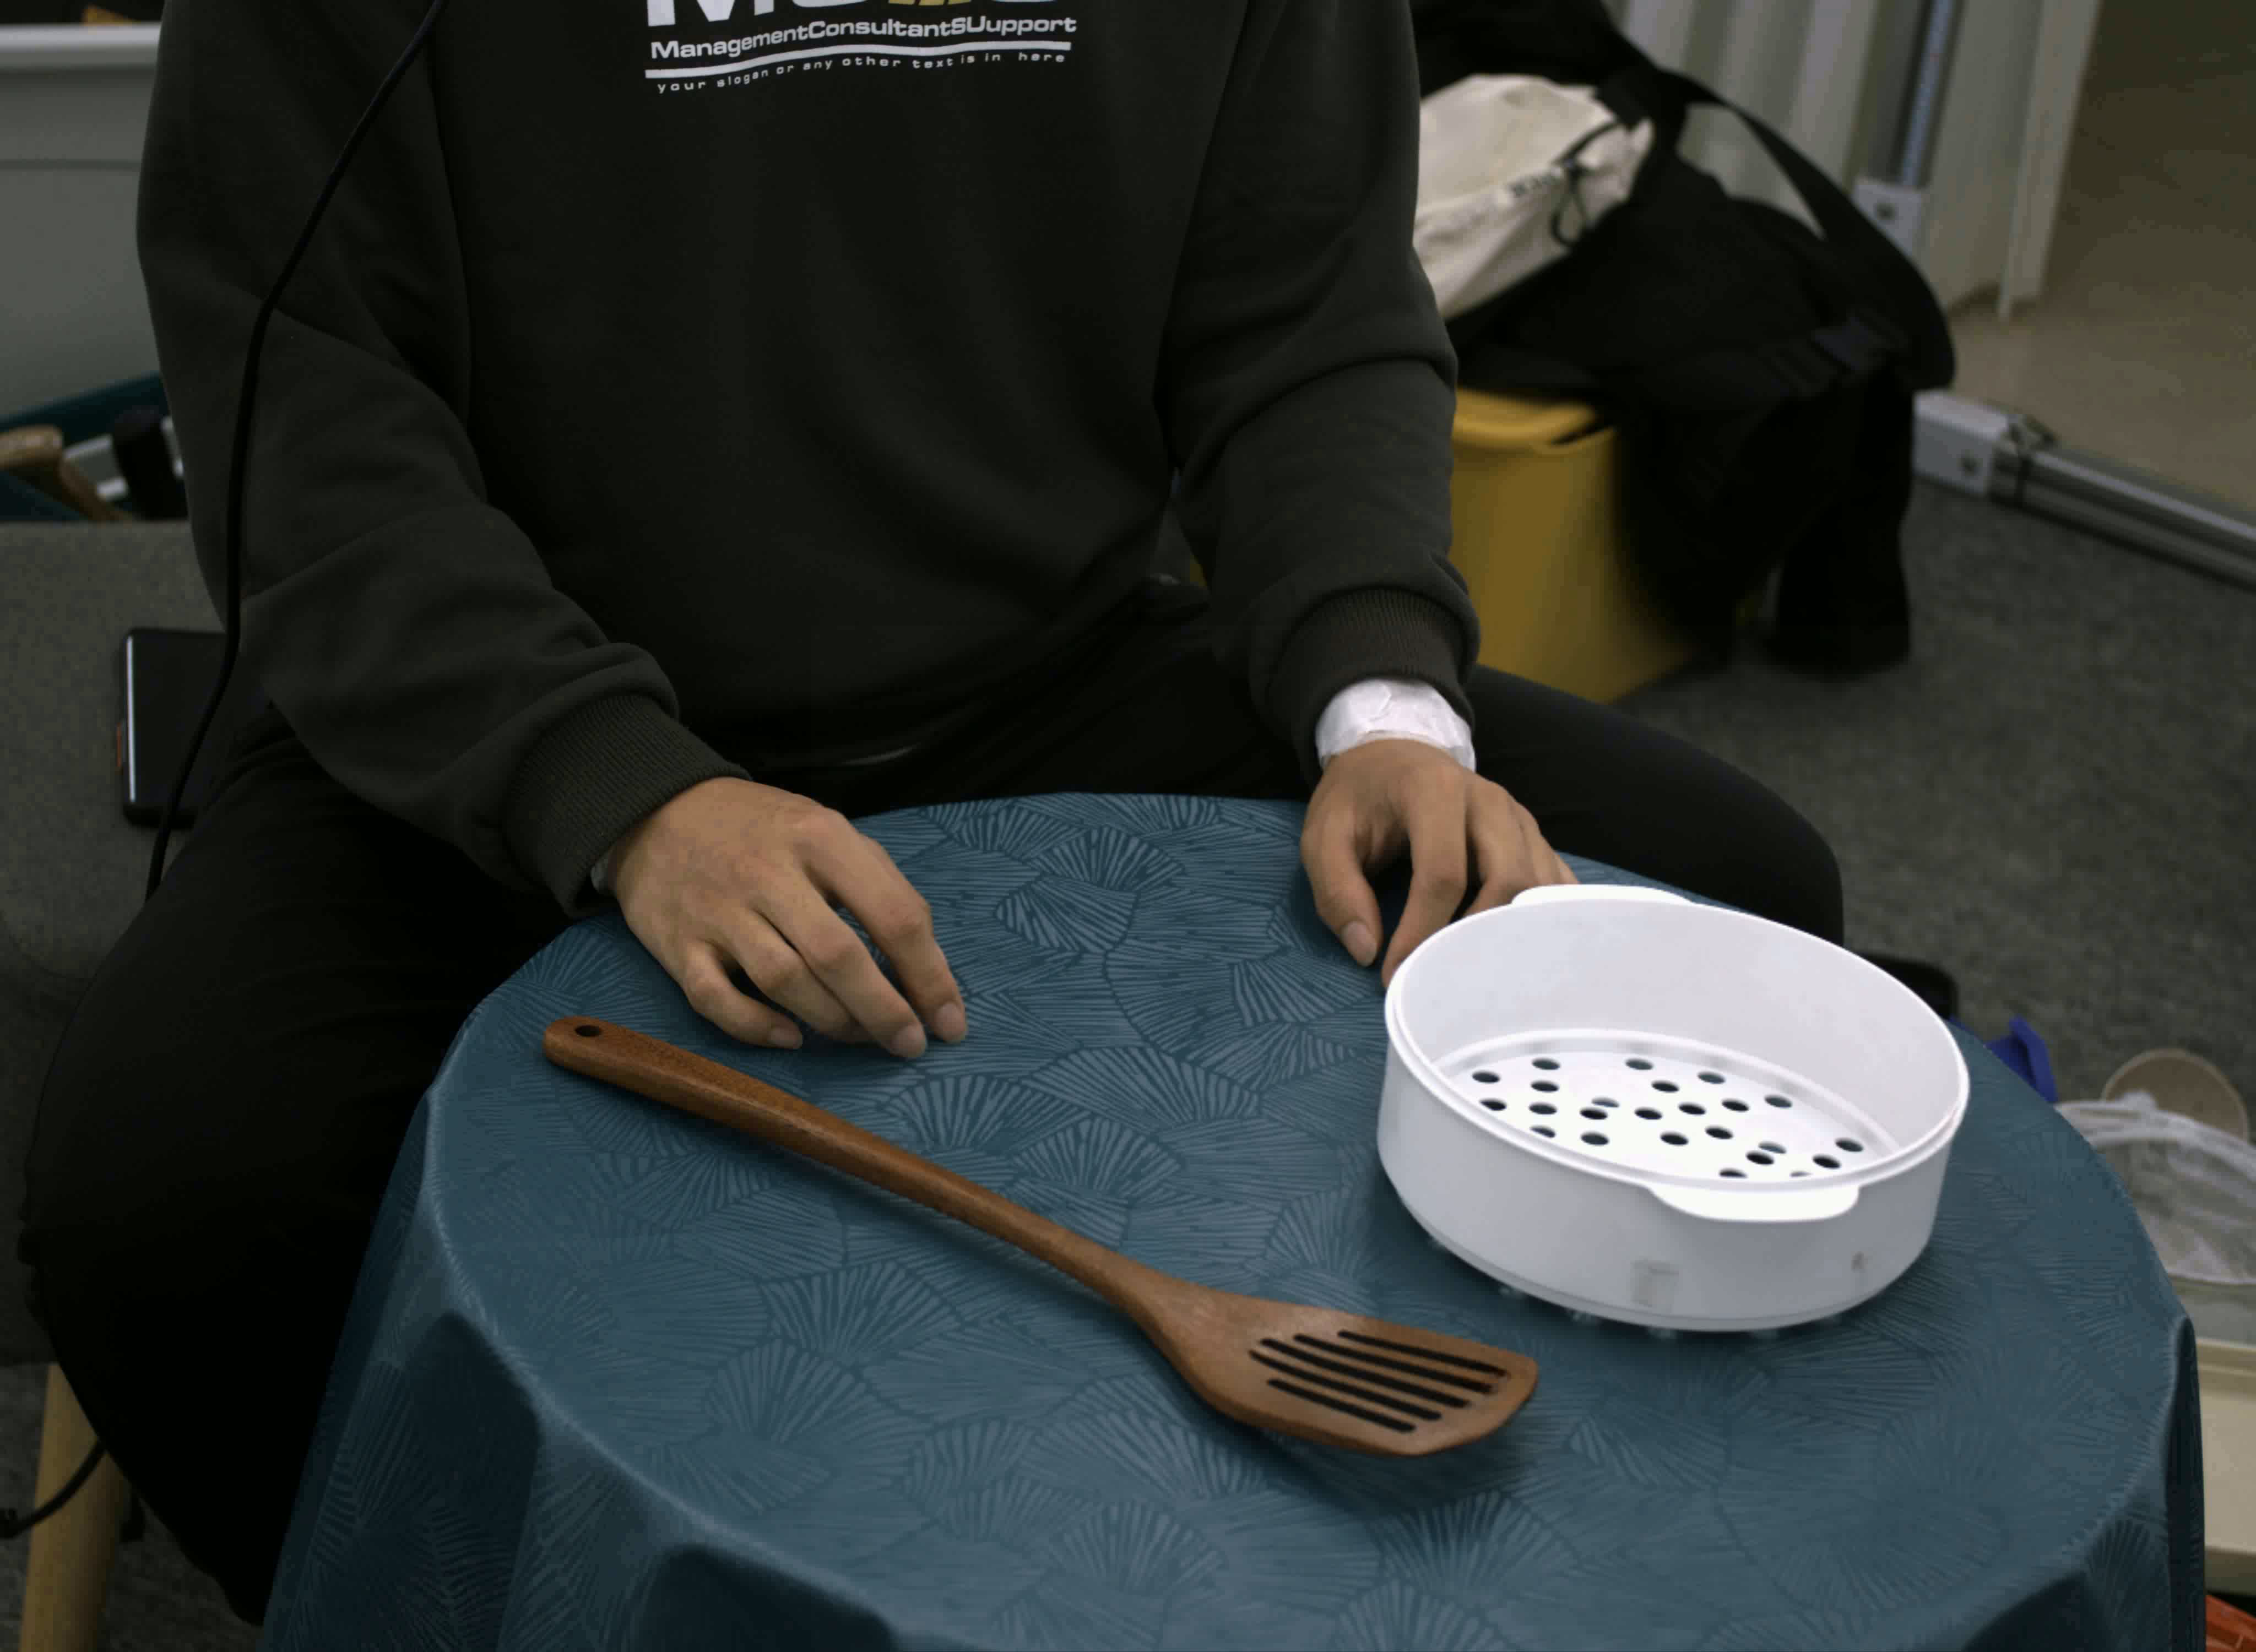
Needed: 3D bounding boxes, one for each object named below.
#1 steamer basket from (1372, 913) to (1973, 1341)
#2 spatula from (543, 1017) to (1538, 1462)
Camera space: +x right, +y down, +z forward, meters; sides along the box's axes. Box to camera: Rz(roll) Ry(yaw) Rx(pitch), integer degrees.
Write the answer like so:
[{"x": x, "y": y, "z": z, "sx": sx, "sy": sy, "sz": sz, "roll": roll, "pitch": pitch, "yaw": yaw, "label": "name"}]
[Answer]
[{"x": 0.183, "y": 0.104, "z": 1.817, "sx": 0.201, "sy": 0.069, "sz": 0.232, "roll": 3, "pitch": 24, "yaw": -12, "label": "steamer basket"}, {"x": -0.043, "y": 0.133, "z": 1.754, "sx": 0.387, "sy": 0.023, "sz": 0.085, "roll": 21, "pitch": 28, "yaw": 29, "label": "spatula"}]
